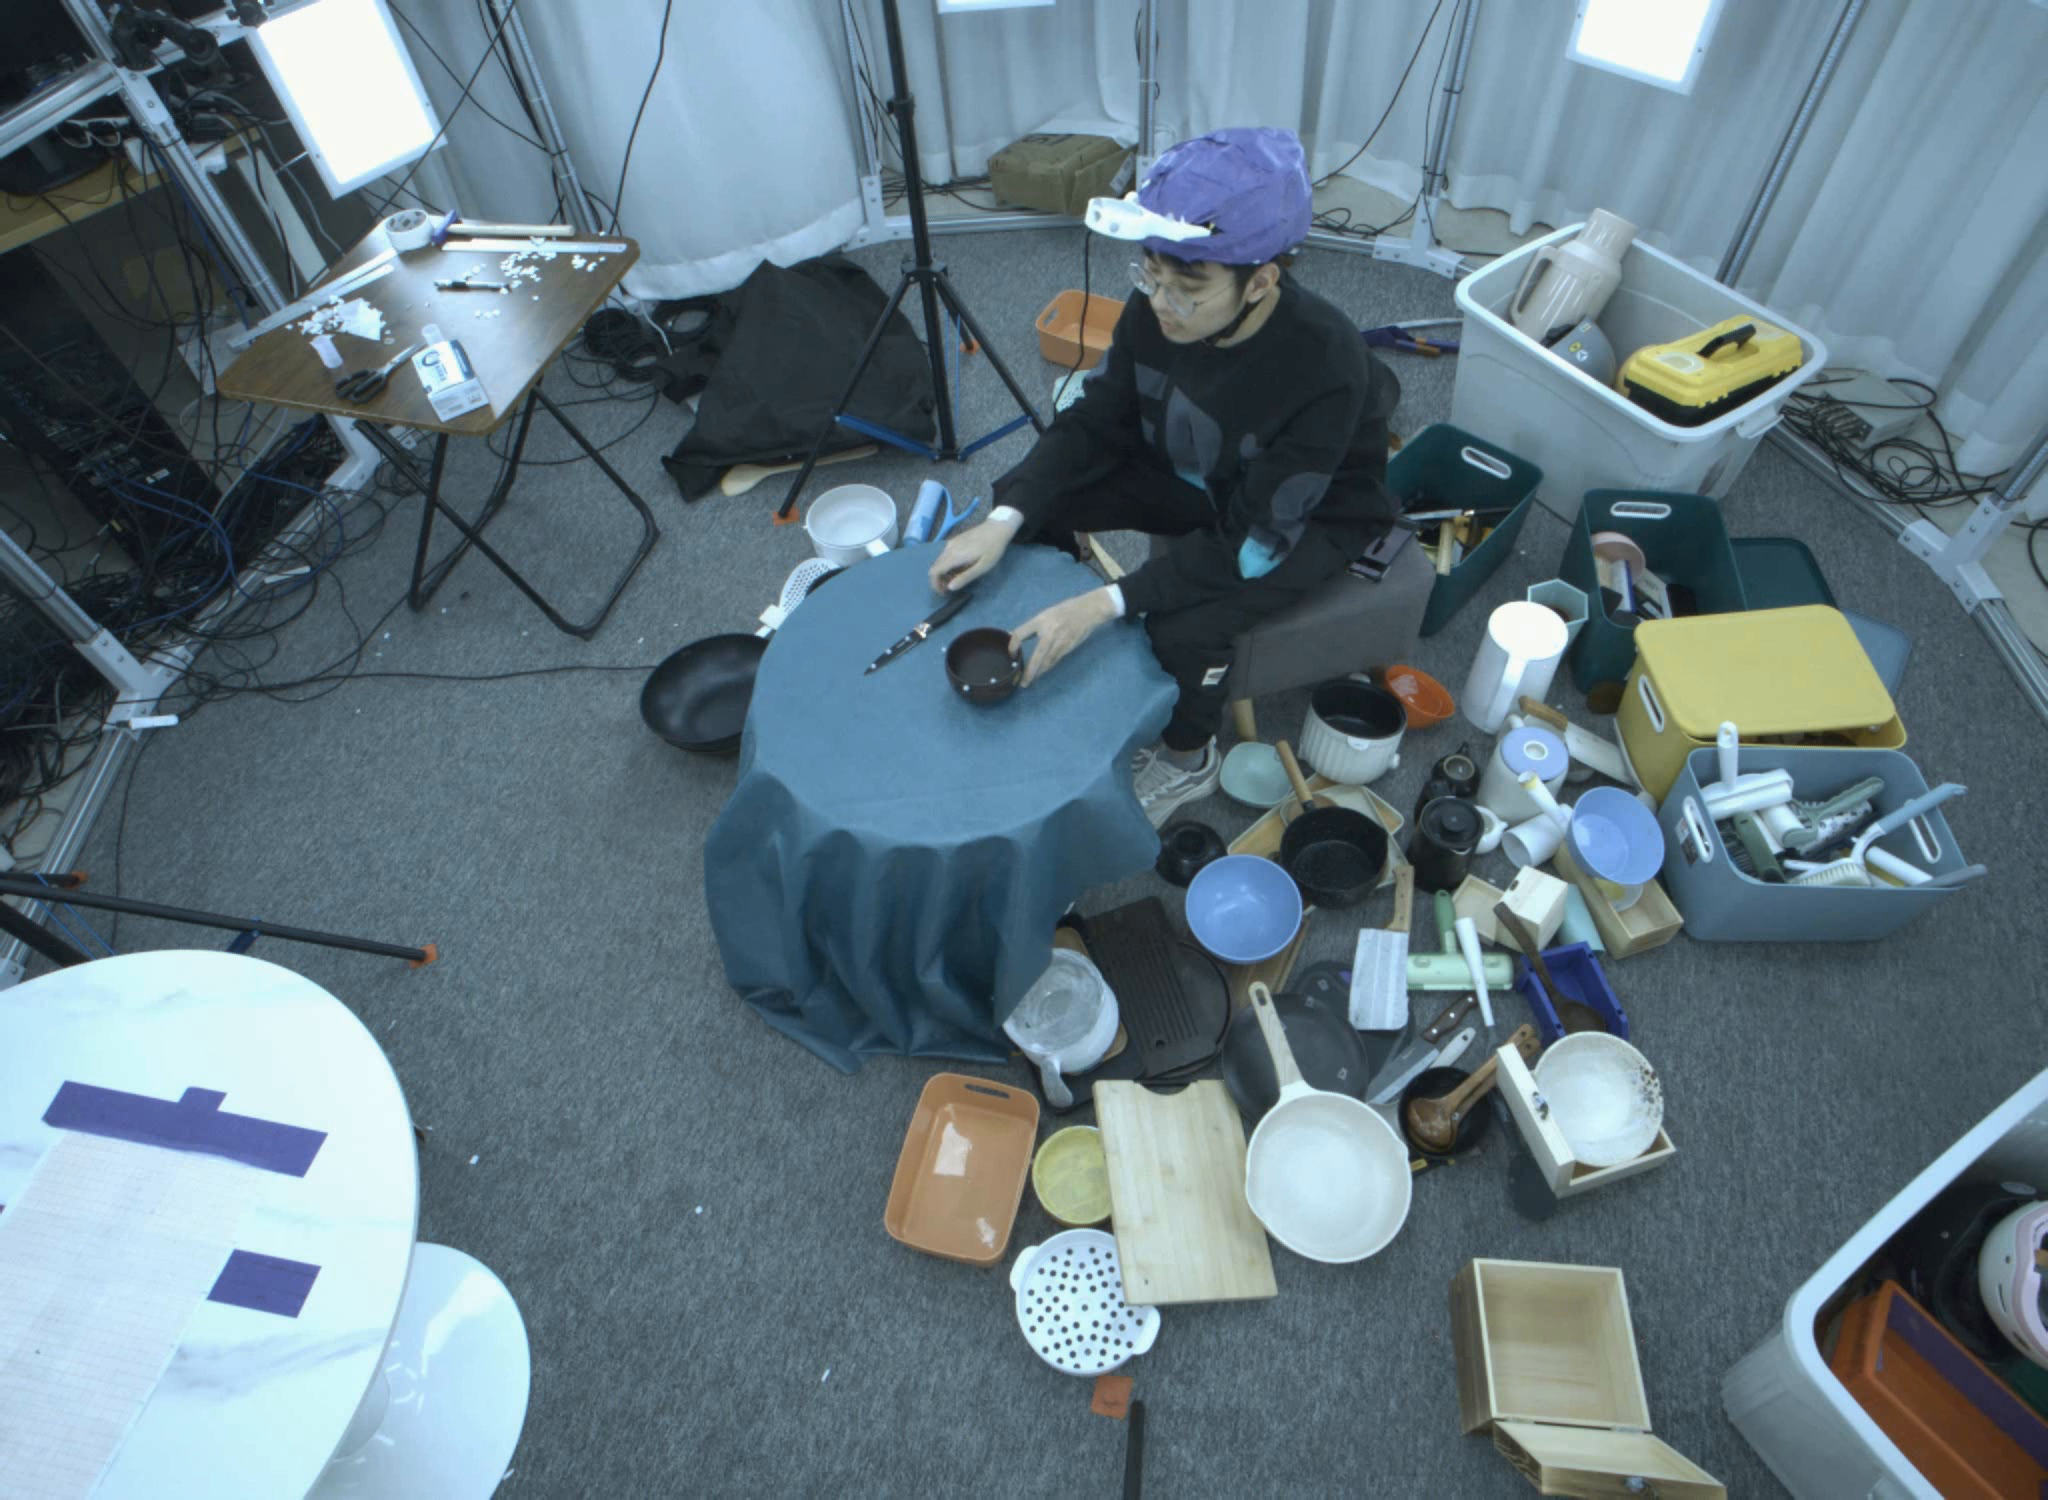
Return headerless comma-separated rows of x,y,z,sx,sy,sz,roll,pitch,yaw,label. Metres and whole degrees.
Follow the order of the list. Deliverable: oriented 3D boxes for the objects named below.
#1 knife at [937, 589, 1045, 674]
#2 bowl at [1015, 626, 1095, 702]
-0.053,-0.186,1.914,0.227,0.017,0.026,-37,69,-20,knife
0.046,-0.119,1.823,0.118,0.070,0.117,0,54,1,bowl
